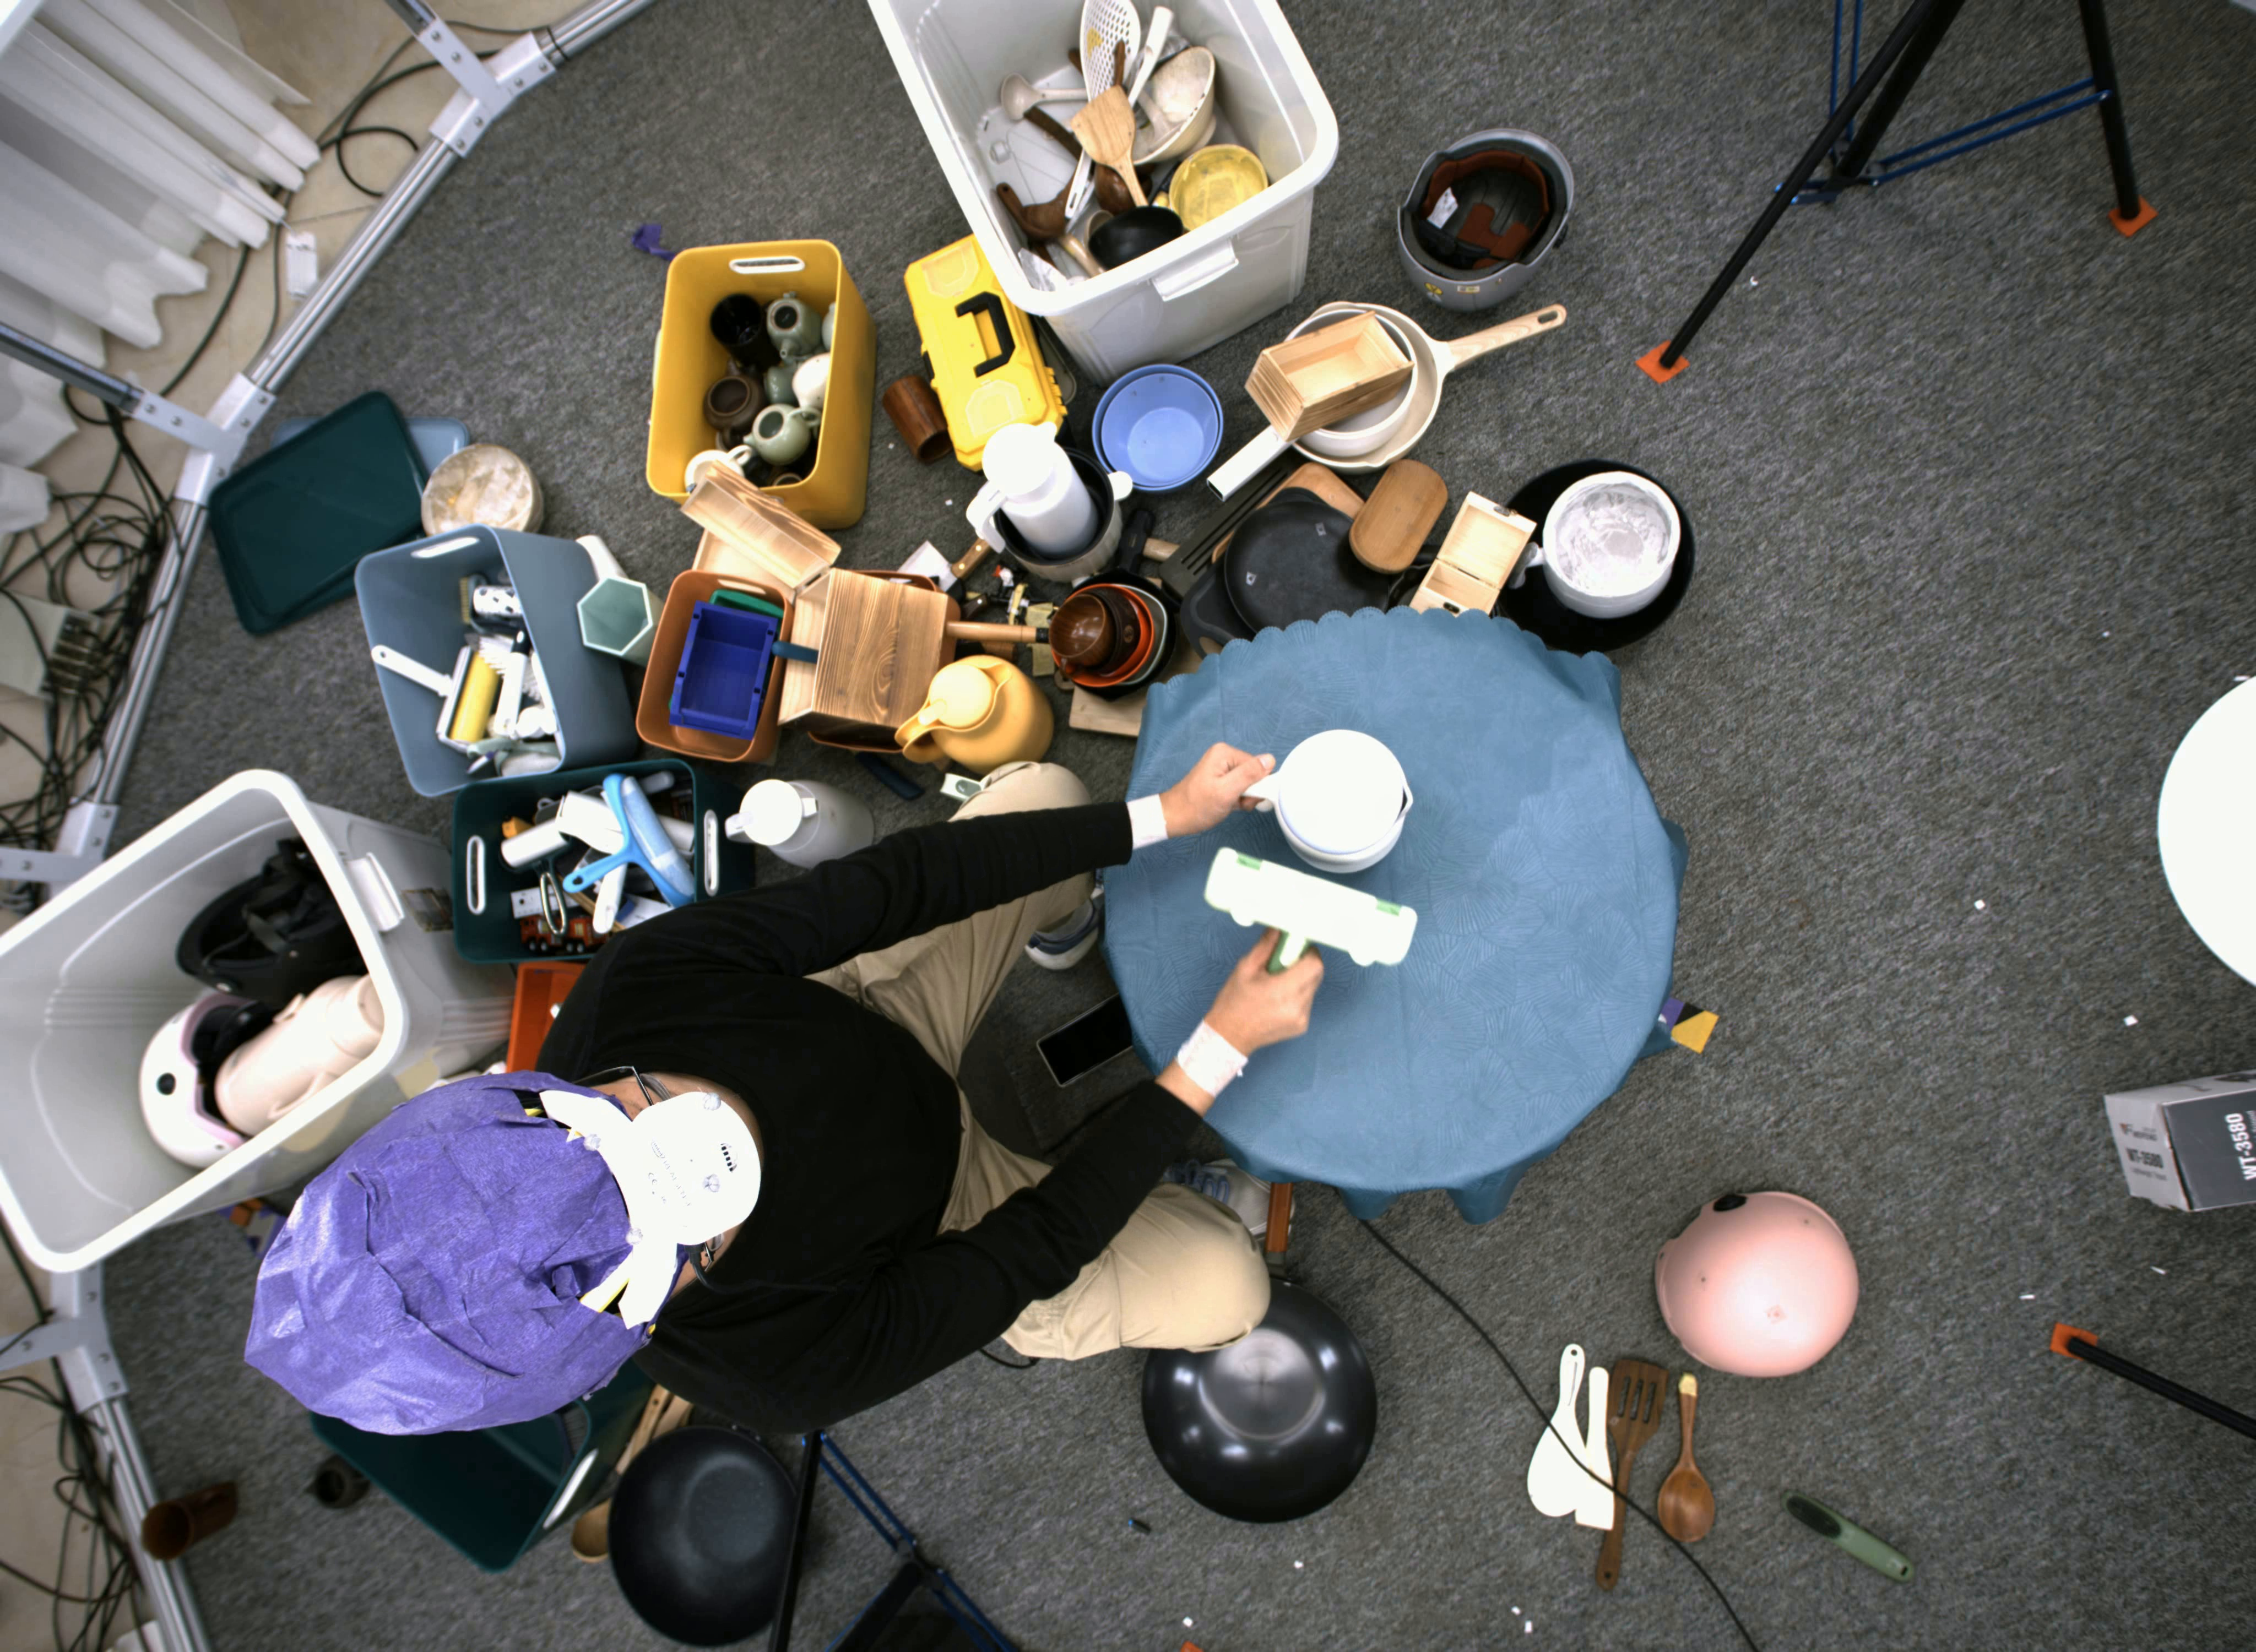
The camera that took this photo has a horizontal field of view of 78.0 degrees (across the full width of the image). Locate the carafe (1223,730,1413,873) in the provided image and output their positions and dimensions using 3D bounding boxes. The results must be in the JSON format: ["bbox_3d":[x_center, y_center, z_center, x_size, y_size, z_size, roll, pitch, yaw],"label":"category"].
[{"bbox_3d":[0.191,-0.026,1.393,0.192,0.183,0.131,5,85,12],"label":"carafe"}]

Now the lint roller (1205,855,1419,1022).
[{"bbox_3d":[0.157,0.131,1.331,0.199,0.080,0.187,18,120,2],"label":"lint roller"}]
